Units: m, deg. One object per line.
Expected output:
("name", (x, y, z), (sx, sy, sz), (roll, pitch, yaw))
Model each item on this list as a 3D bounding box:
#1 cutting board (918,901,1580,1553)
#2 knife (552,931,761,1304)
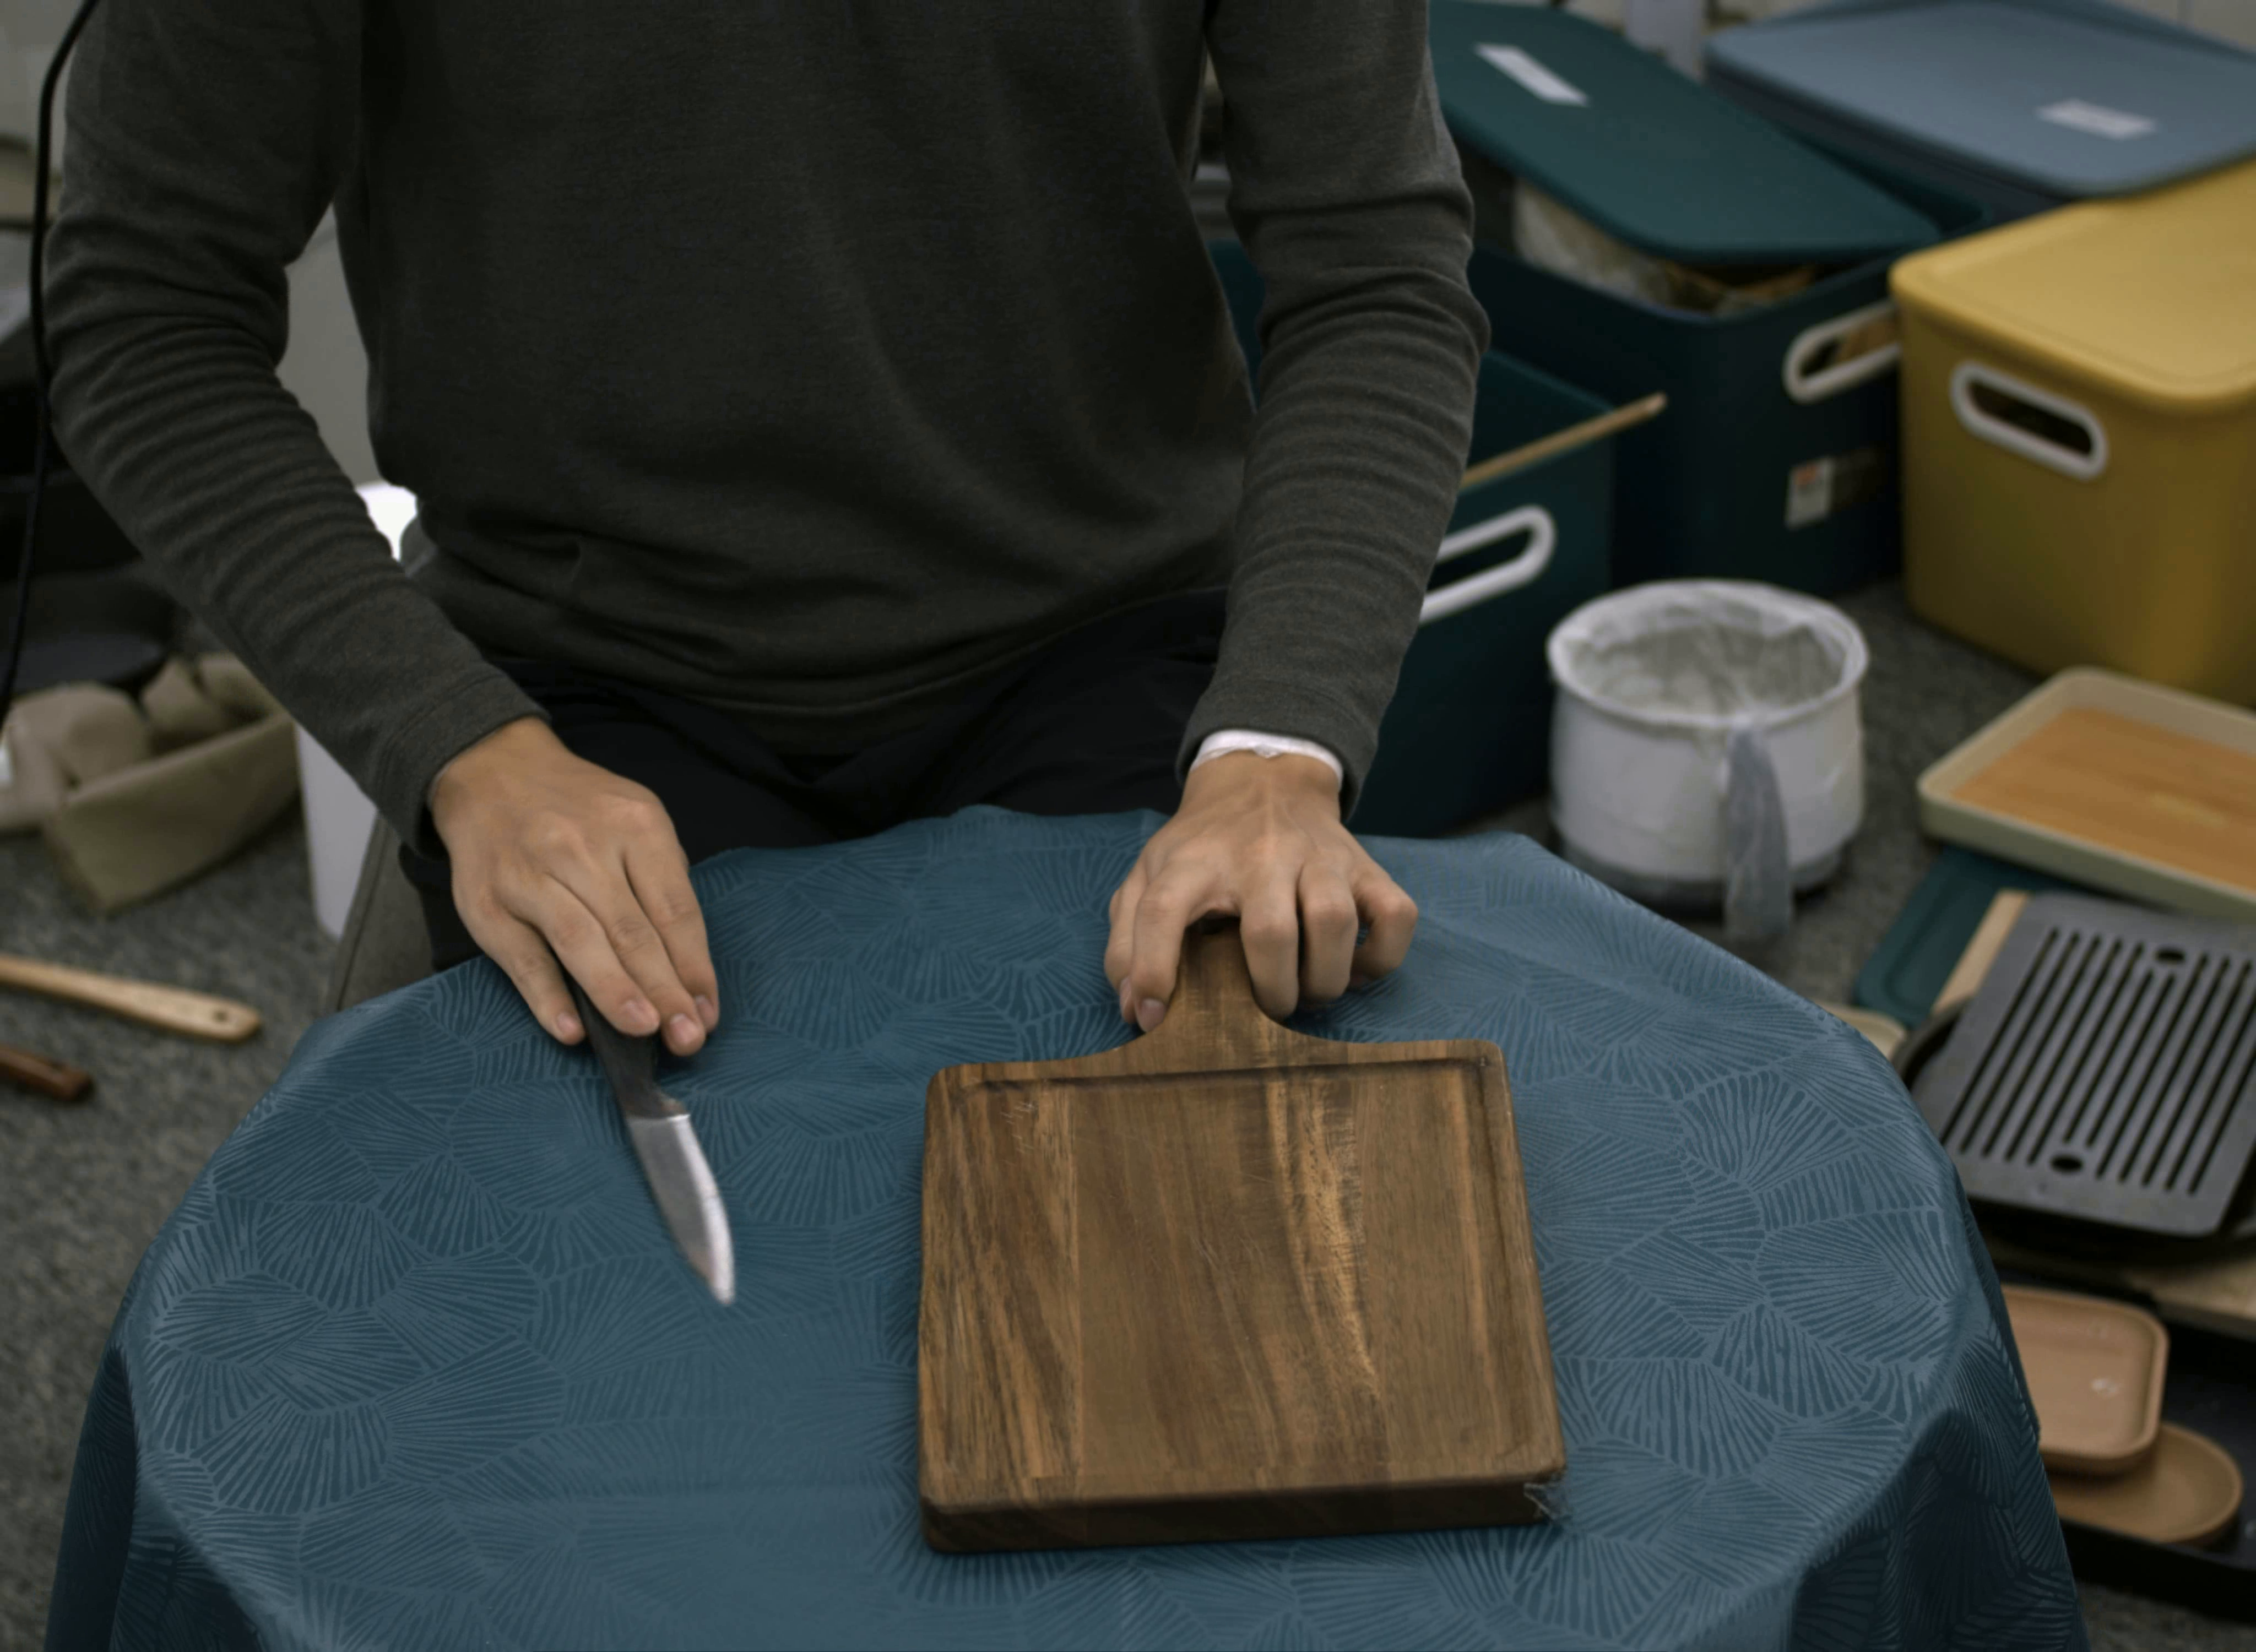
("cutting board", (0.031, 0.120, 1.828), (0.200, 0.023, 0.357), (-3, 29, 0))
("knife", (-0.161, 0.099, 1.909), (0.024, 0.016, 0.240), (-10, 31, -16))
